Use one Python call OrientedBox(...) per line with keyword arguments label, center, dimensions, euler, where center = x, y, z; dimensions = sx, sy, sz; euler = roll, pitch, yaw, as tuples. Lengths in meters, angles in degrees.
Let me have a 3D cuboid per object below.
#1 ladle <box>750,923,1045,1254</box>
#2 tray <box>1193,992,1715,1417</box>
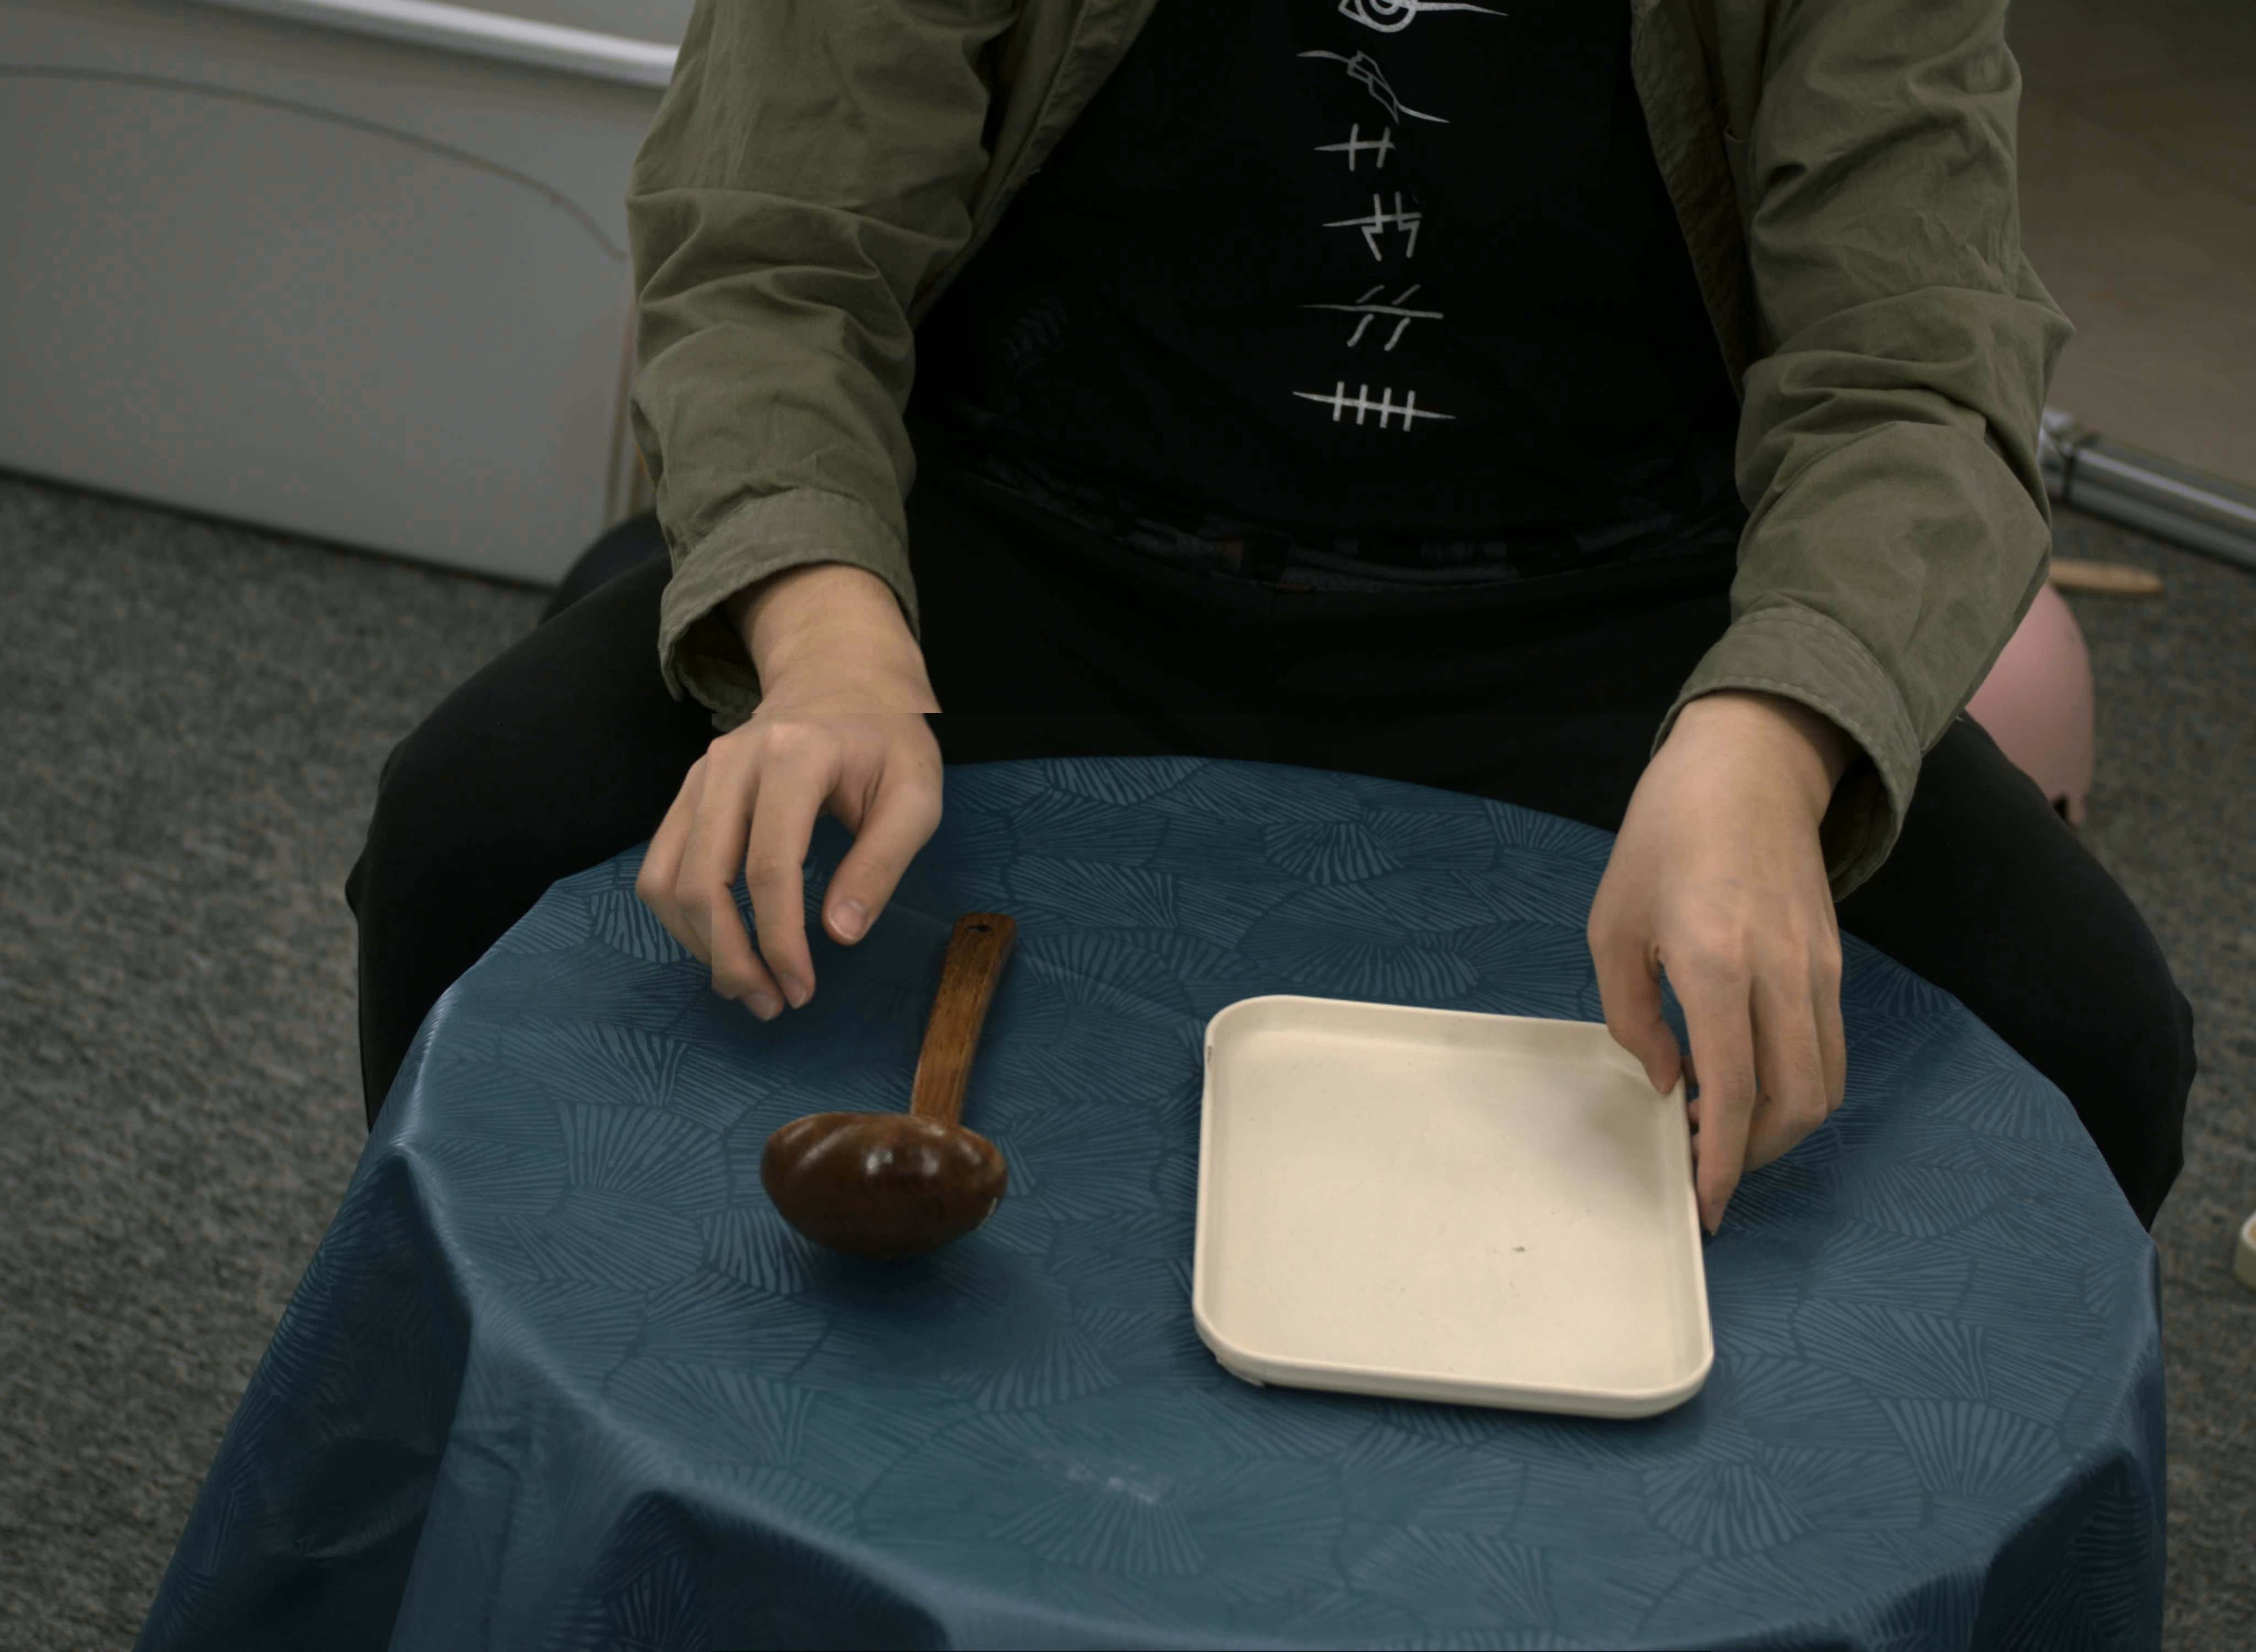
OrientedBox(label="ladle", center=(-0.066, 0.068, 1.811), dimensions=(0.082, 0.076, 0.275), euler=(5, 26, 8))
OrientedBox(label="tray", center=(0.107, 0.127, 1.793), dimensions=(0.171, 0.017, 0.241), euler=(6, 27, 0))
